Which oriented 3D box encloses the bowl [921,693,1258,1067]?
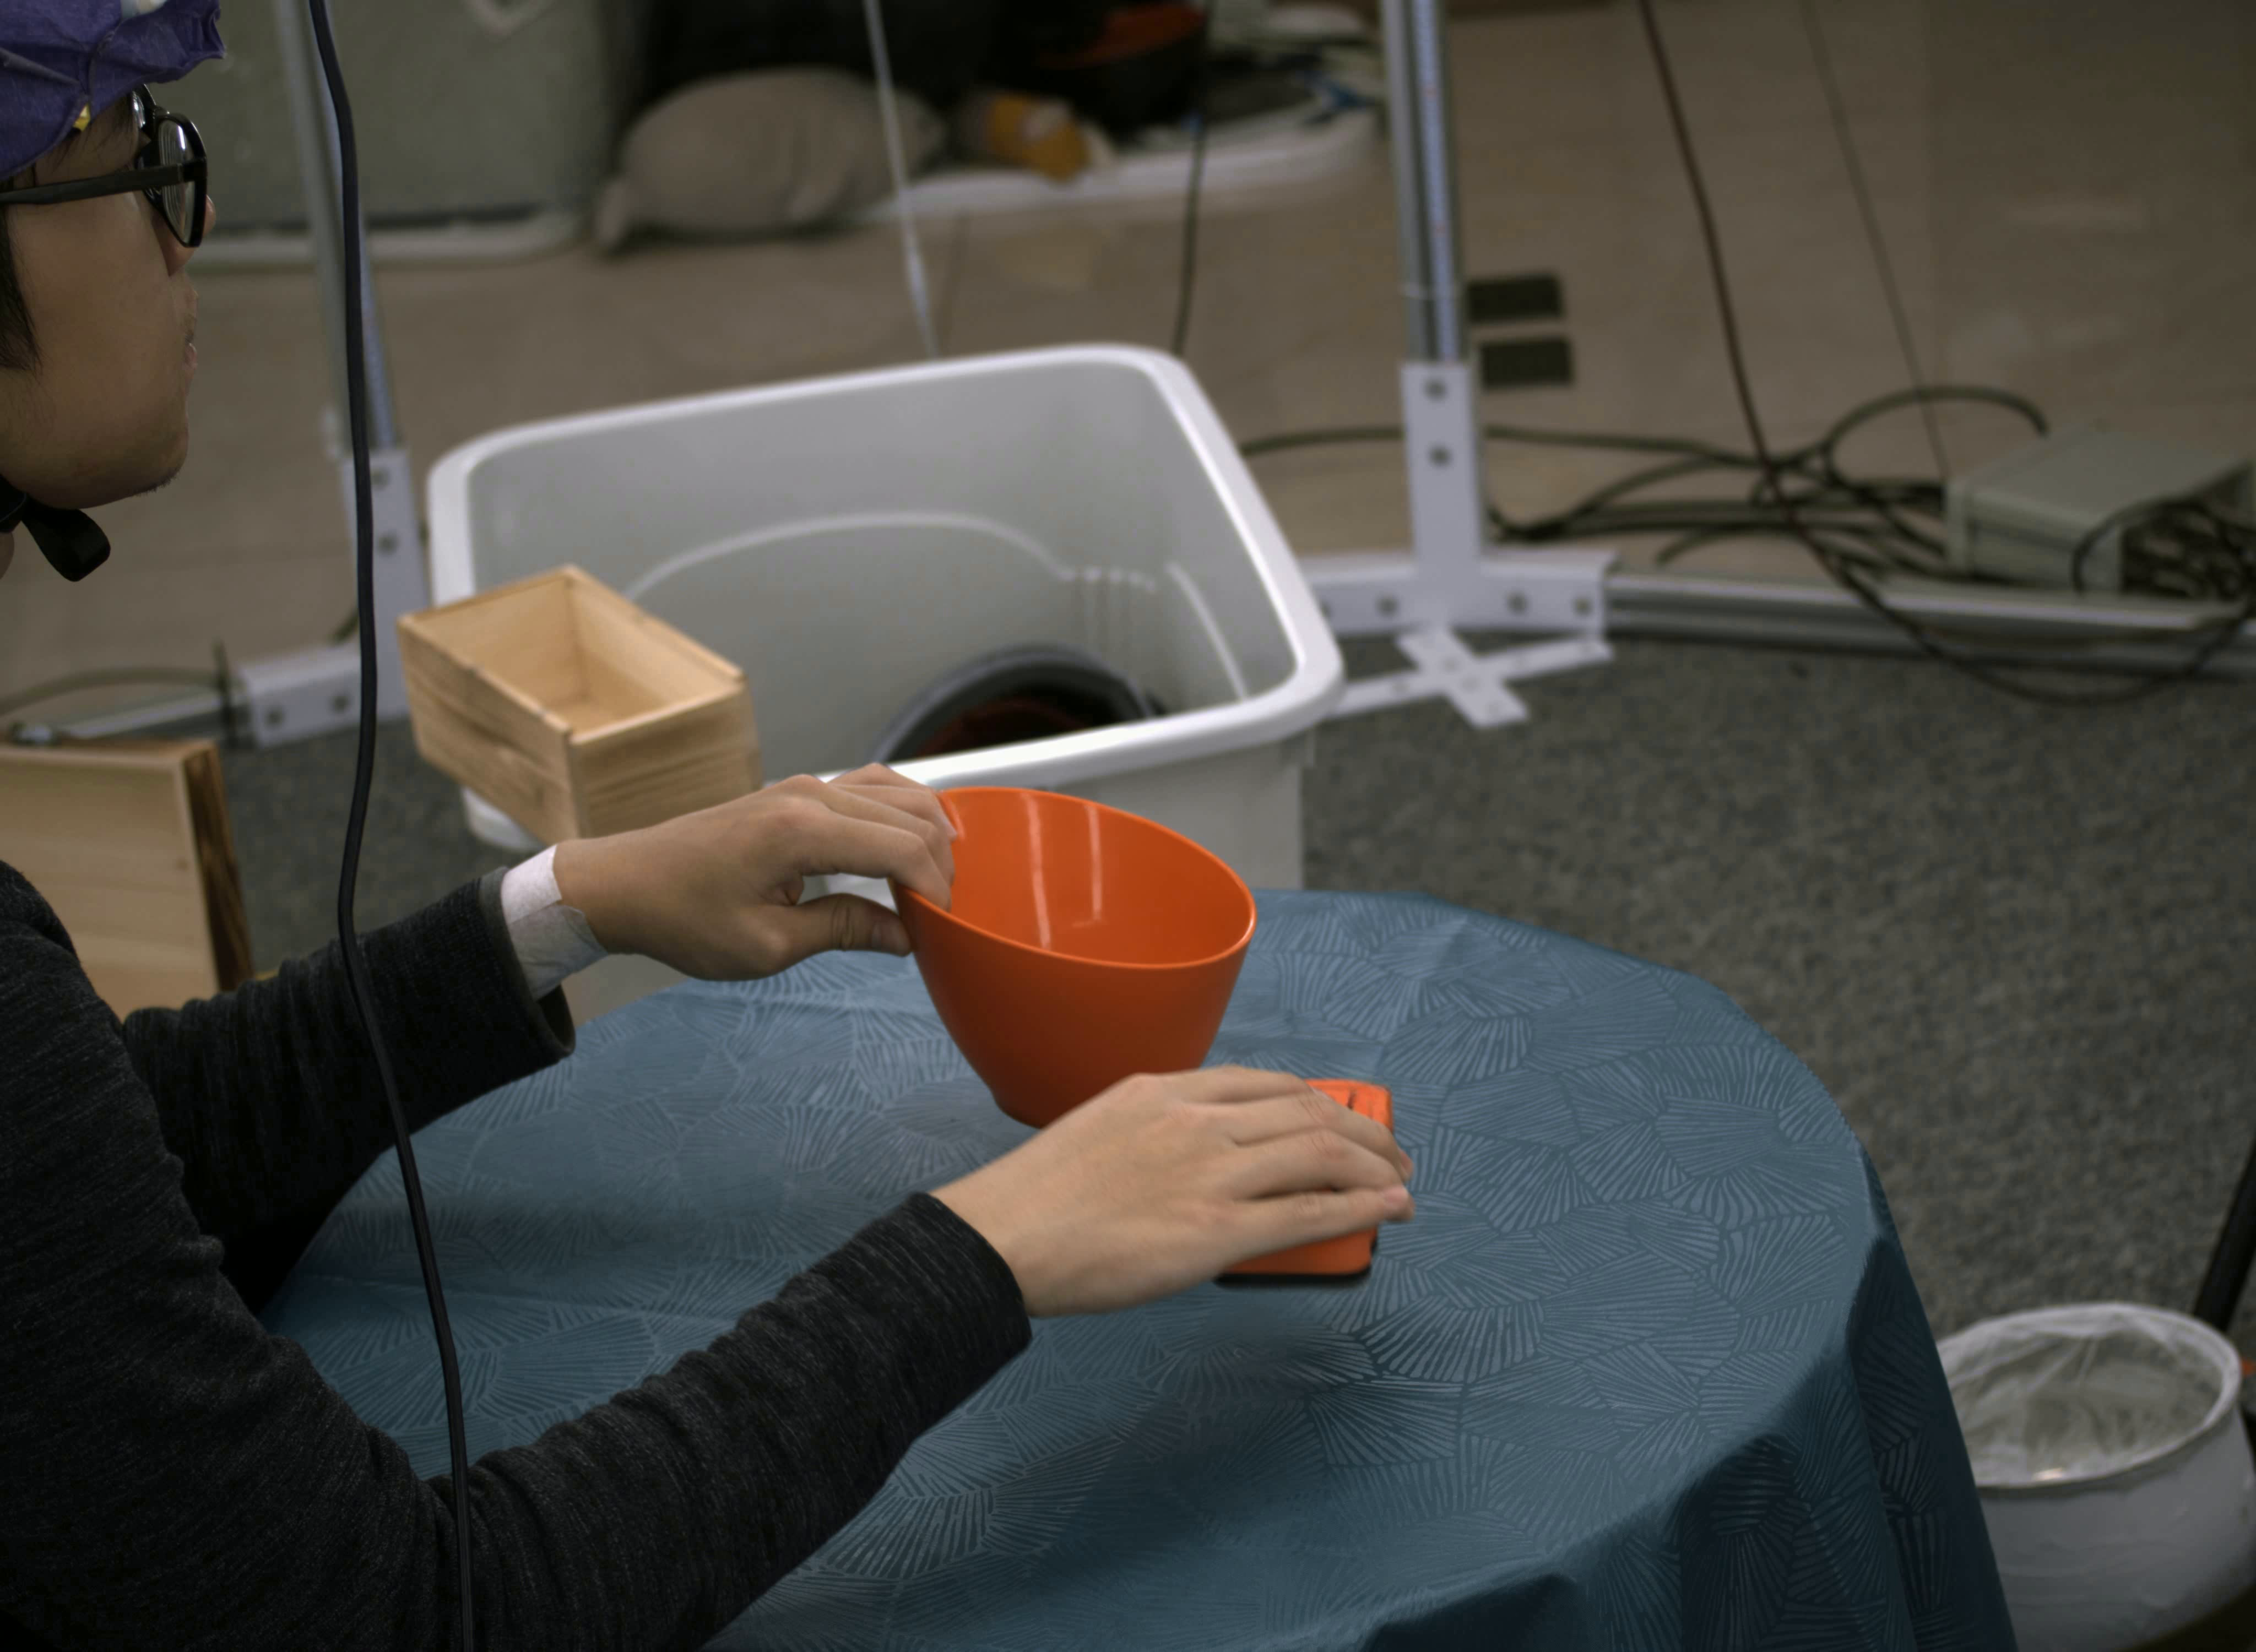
[{"bbox_3d":[-0.030,0.027,2.138,0.148,0.105,0.148,24,0,0],"label":"bowl"}]

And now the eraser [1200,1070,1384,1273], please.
[{"bbox_3d":[0.059,0.120,1.988,0.059,0.023,0.106,0,27,7],"label":"eraser"}]
